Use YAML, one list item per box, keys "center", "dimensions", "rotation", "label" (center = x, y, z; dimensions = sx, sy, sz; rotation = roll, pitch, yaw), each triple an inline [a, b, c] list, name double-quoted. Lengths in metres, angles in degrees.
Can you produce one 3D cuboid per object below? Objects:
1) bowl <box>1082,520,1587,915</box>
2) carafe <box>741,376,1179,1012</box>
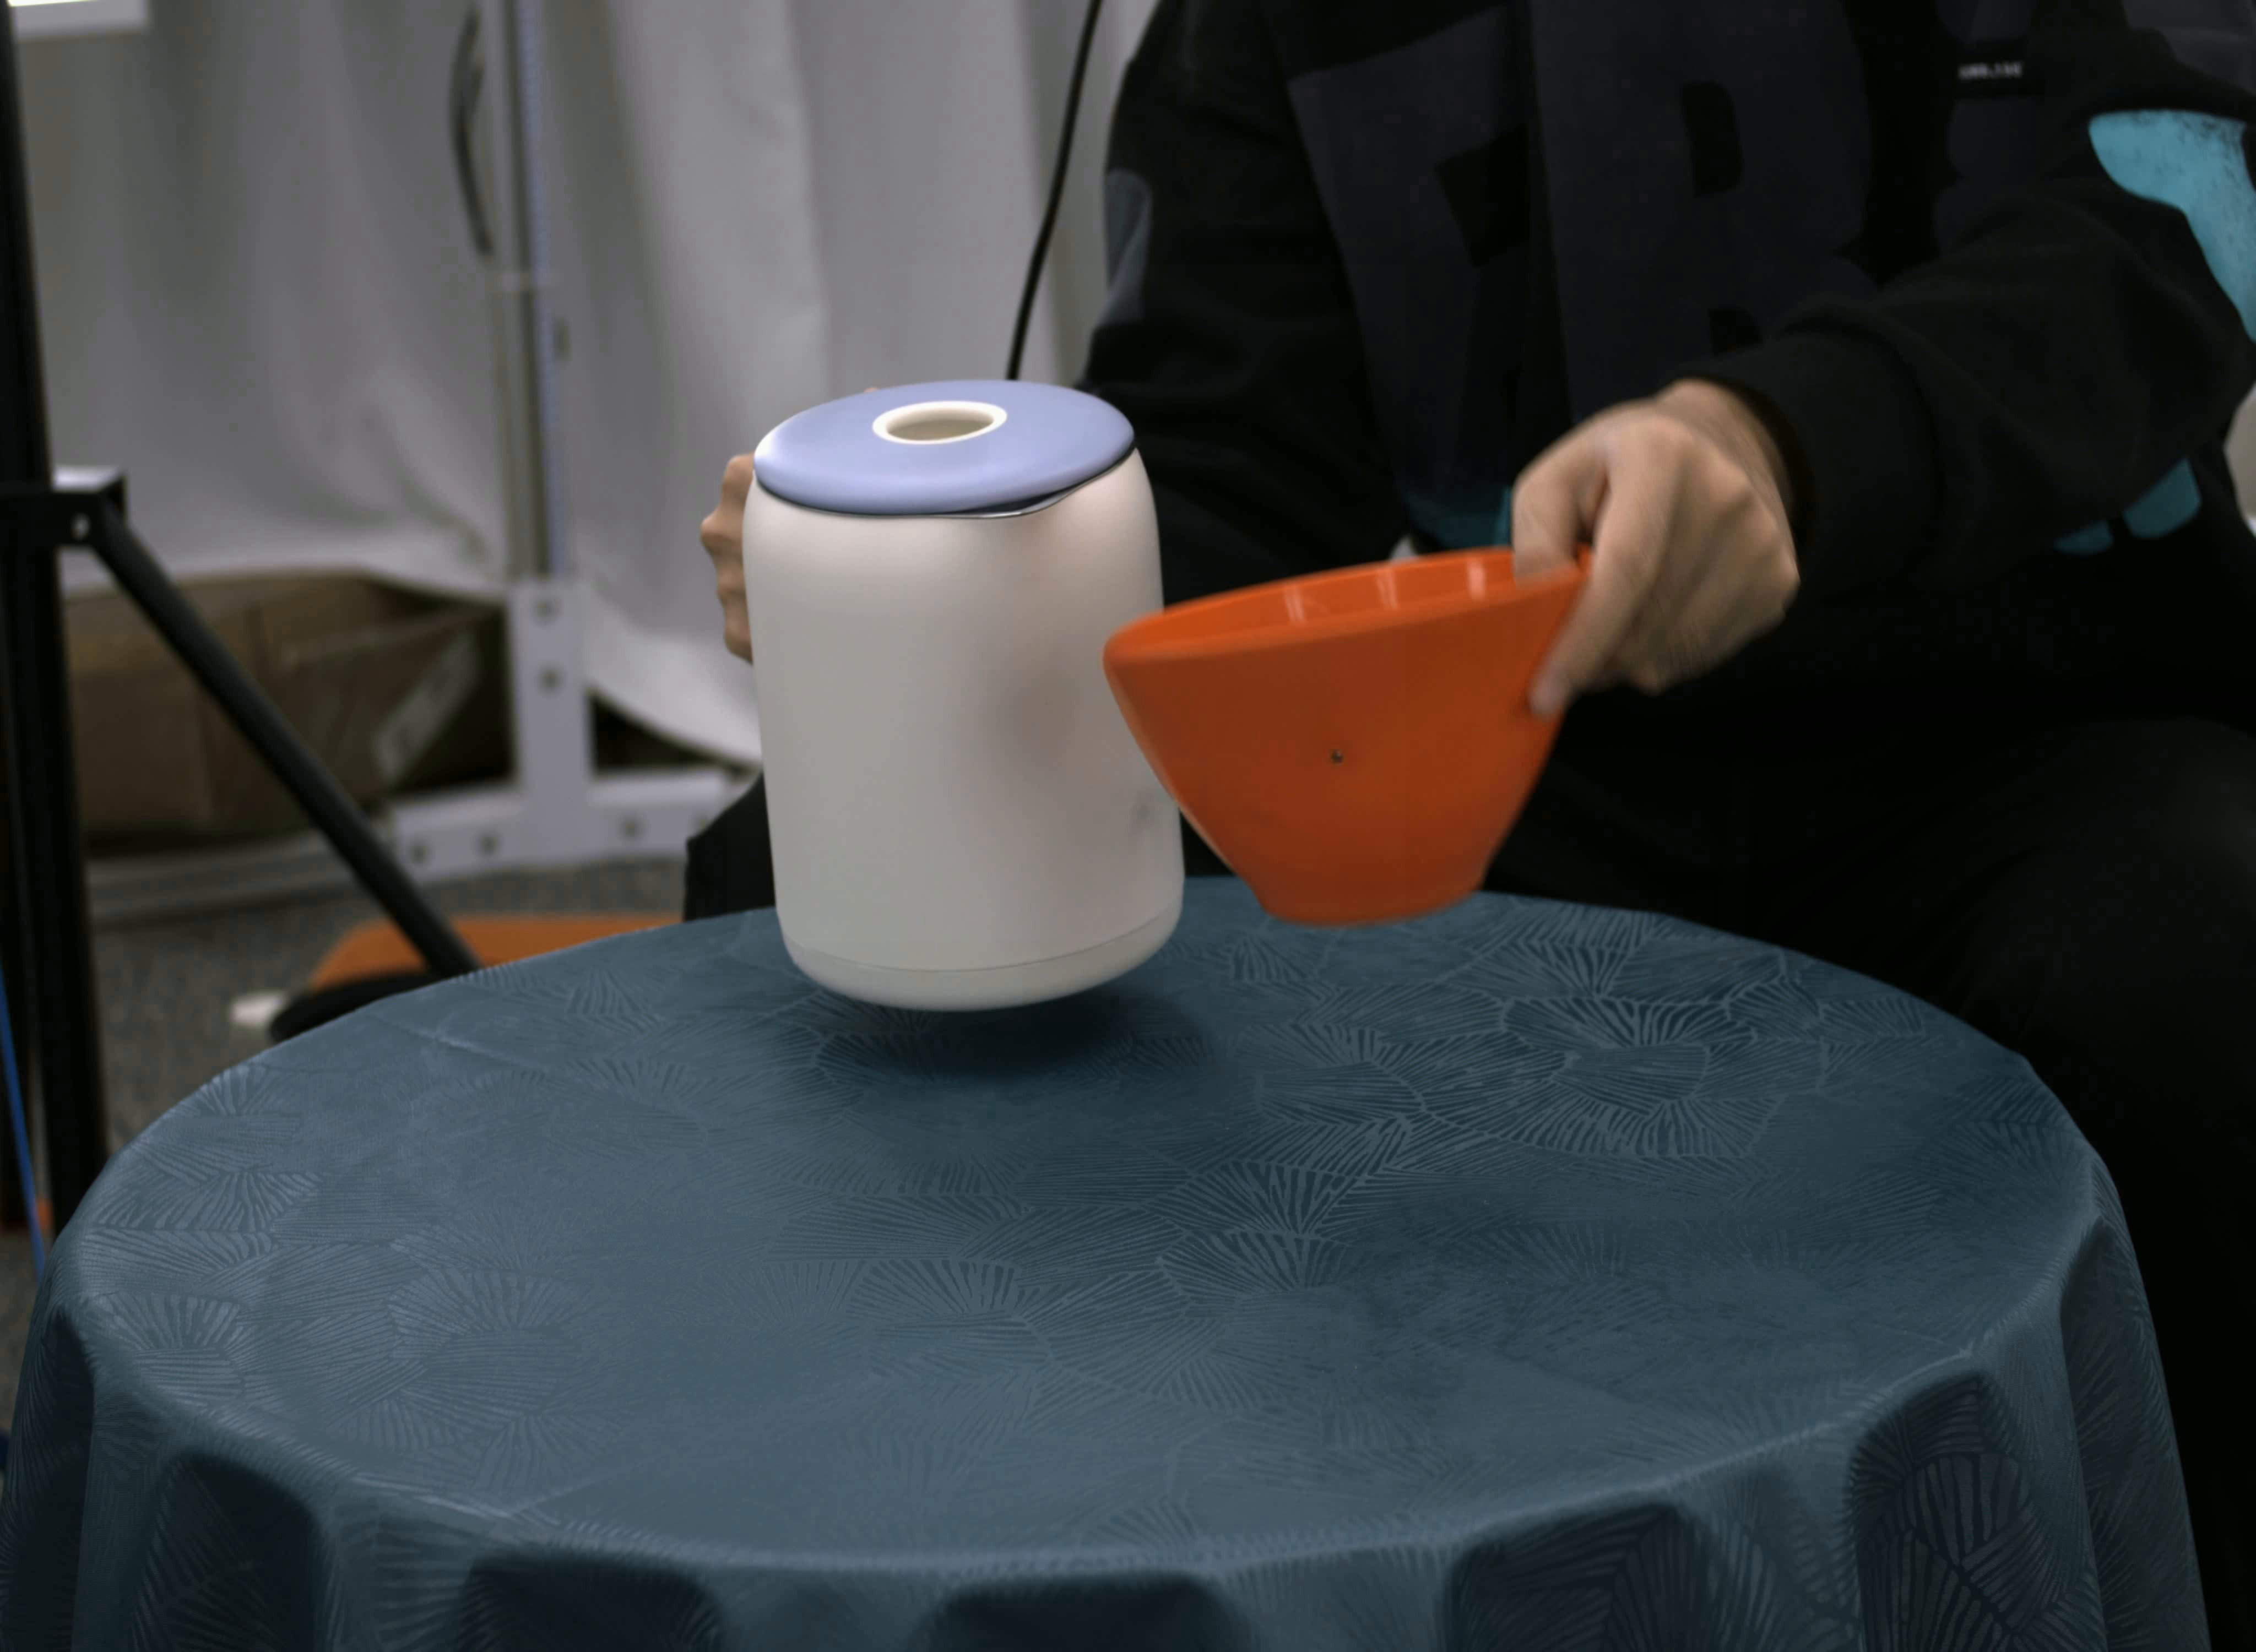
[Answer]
- center: [0.065, -0.031, 1.532]
  dimensions: [0.147, 0.104, 0.149]
  rotation: [-9, 18, 2]
  label: "bowl"
- center: [-0.063, -0.049, 1.708]
  dimensions: [0.130, 0.182, 0.195]
  rotation: [-12, 19, -21]
  label: "carafe"
